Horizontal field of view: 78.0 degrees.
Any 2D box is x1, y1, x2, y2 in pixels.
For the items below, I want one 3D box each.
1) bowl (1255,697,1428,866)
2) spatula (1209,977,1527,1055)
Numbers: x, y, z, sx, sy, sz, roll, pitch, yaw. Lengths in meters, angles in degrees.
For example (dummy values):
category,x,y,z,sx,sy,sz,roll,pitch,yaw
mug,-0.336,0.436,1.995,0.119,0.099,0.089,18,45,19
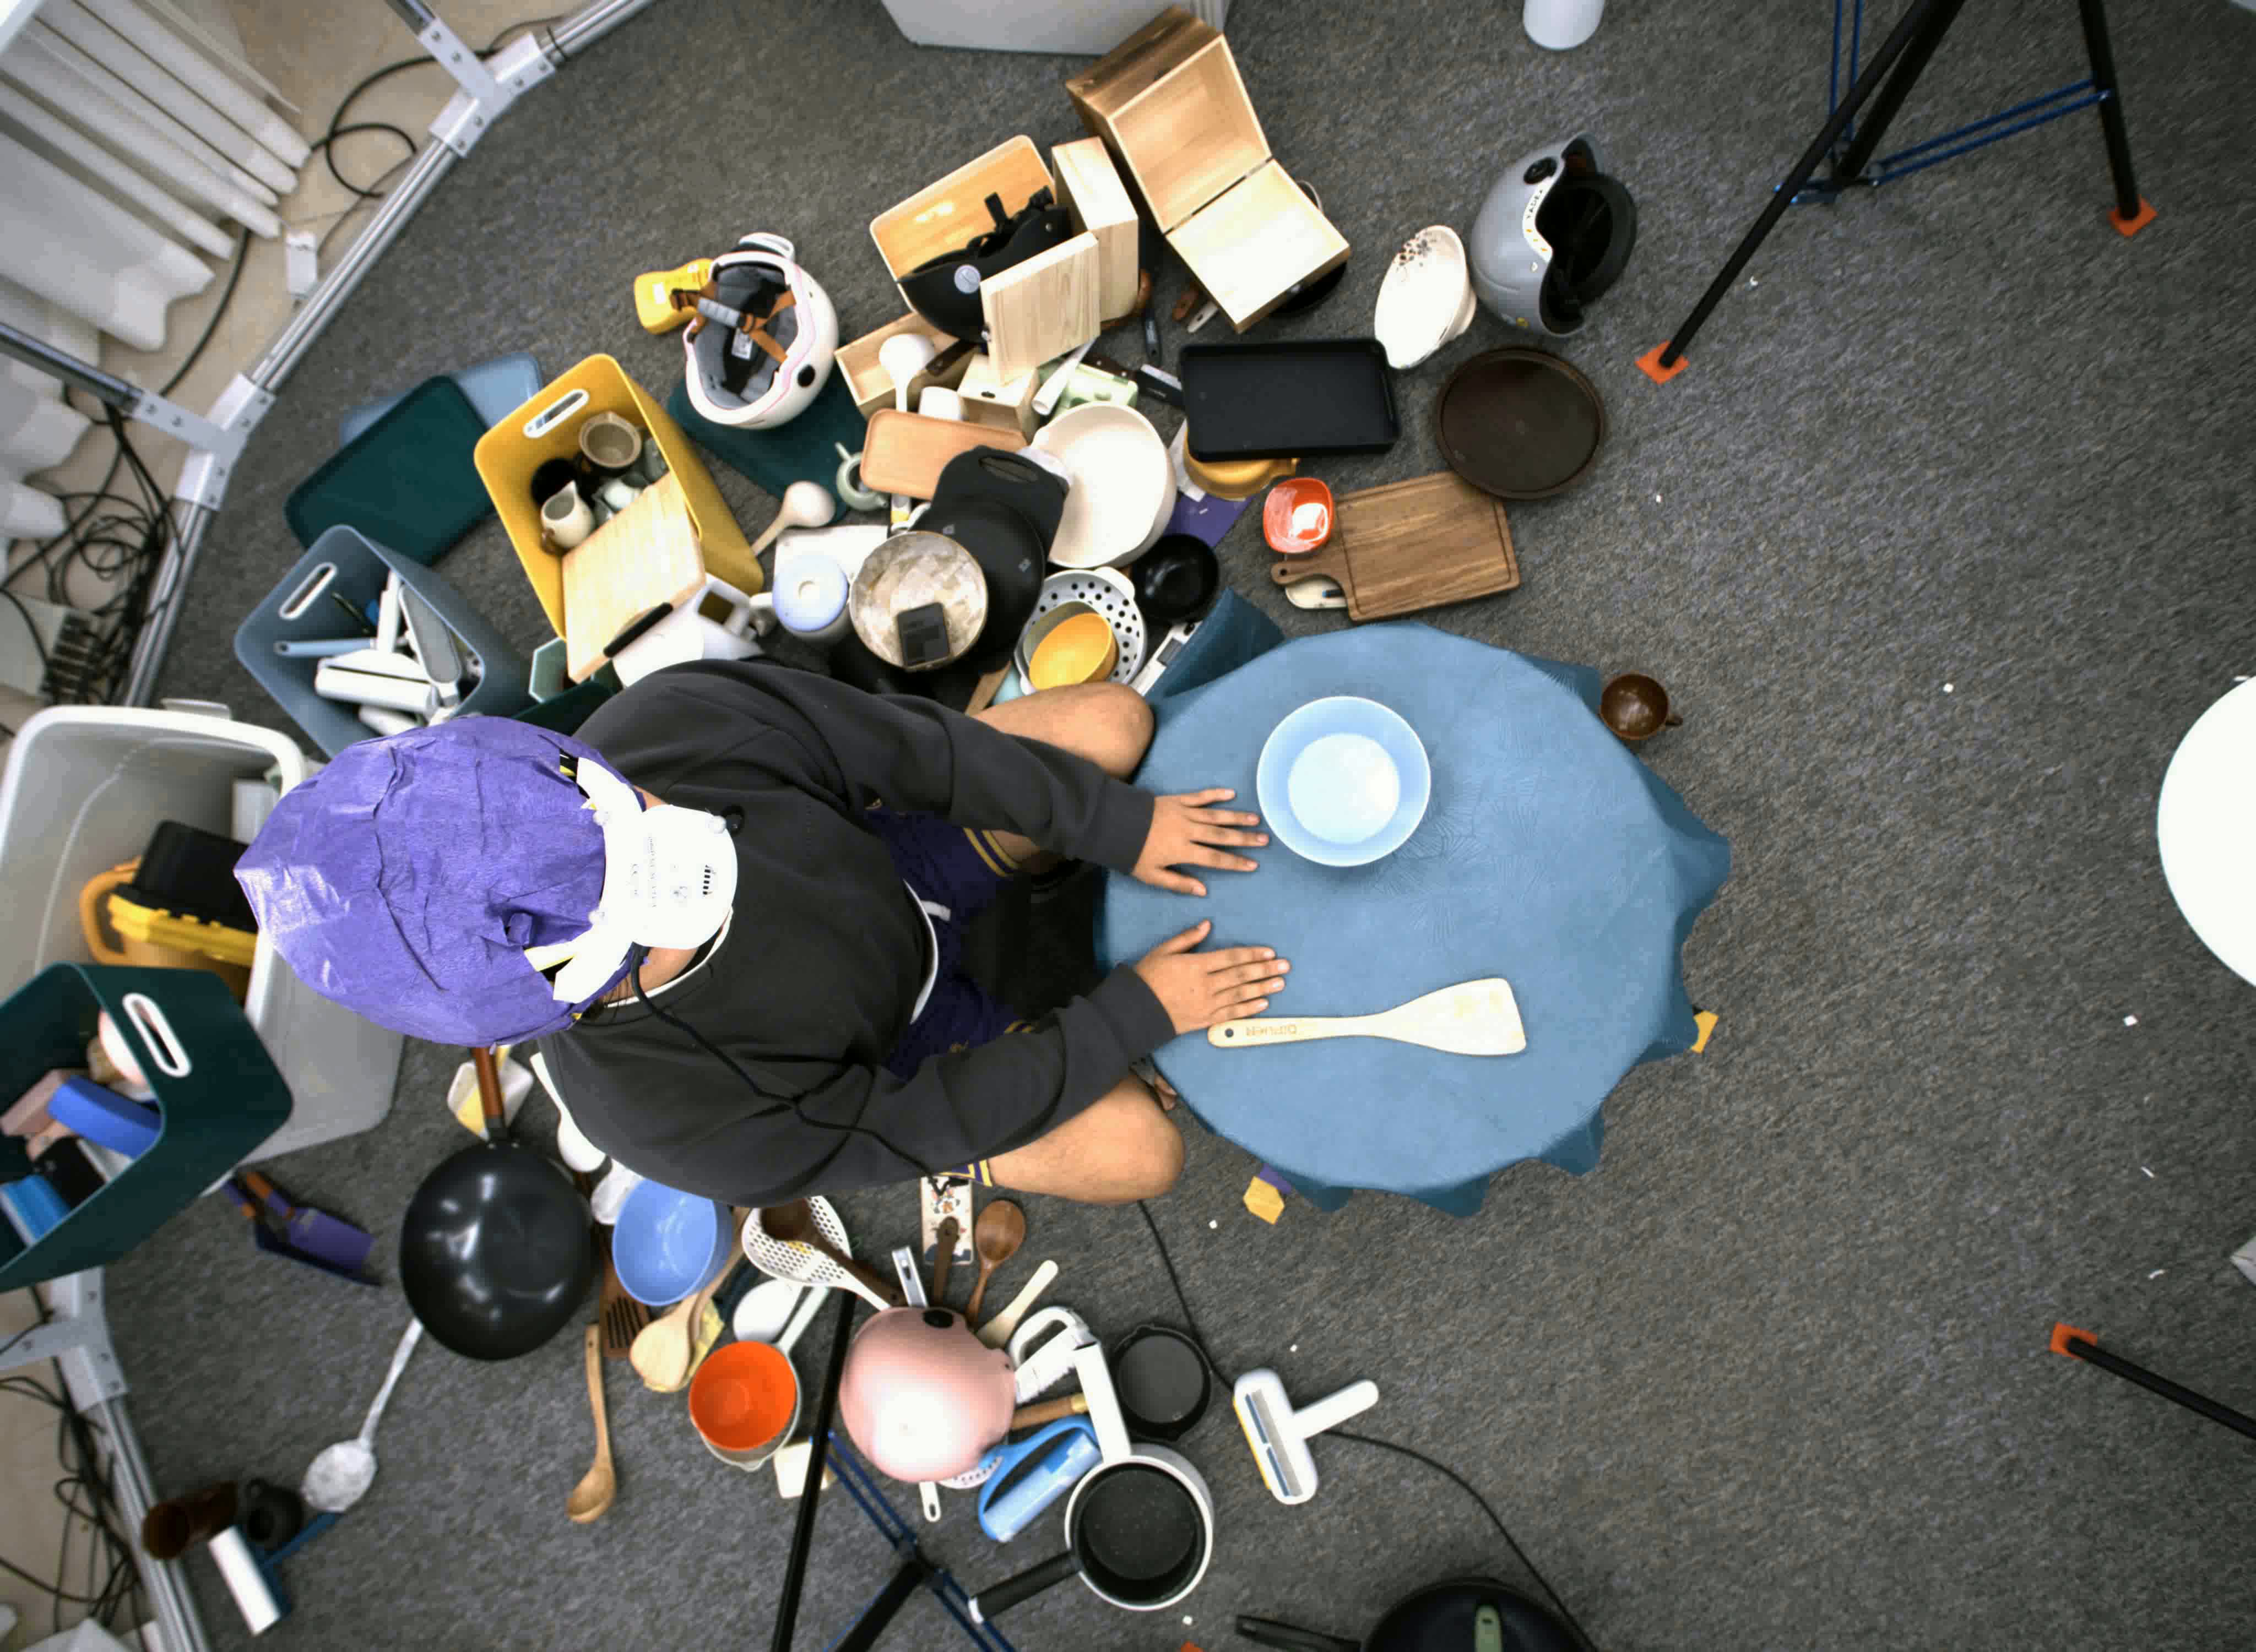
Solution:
category,x,y,z,sx,sy,sz,roll,pitch,yaw
bowl,0.223,-0.044,1.439,0.177,0.070,0.175,-1,86,10
spatula,0.247,0.206,1.448,0.329,0.016,0.079,-5,86,10
